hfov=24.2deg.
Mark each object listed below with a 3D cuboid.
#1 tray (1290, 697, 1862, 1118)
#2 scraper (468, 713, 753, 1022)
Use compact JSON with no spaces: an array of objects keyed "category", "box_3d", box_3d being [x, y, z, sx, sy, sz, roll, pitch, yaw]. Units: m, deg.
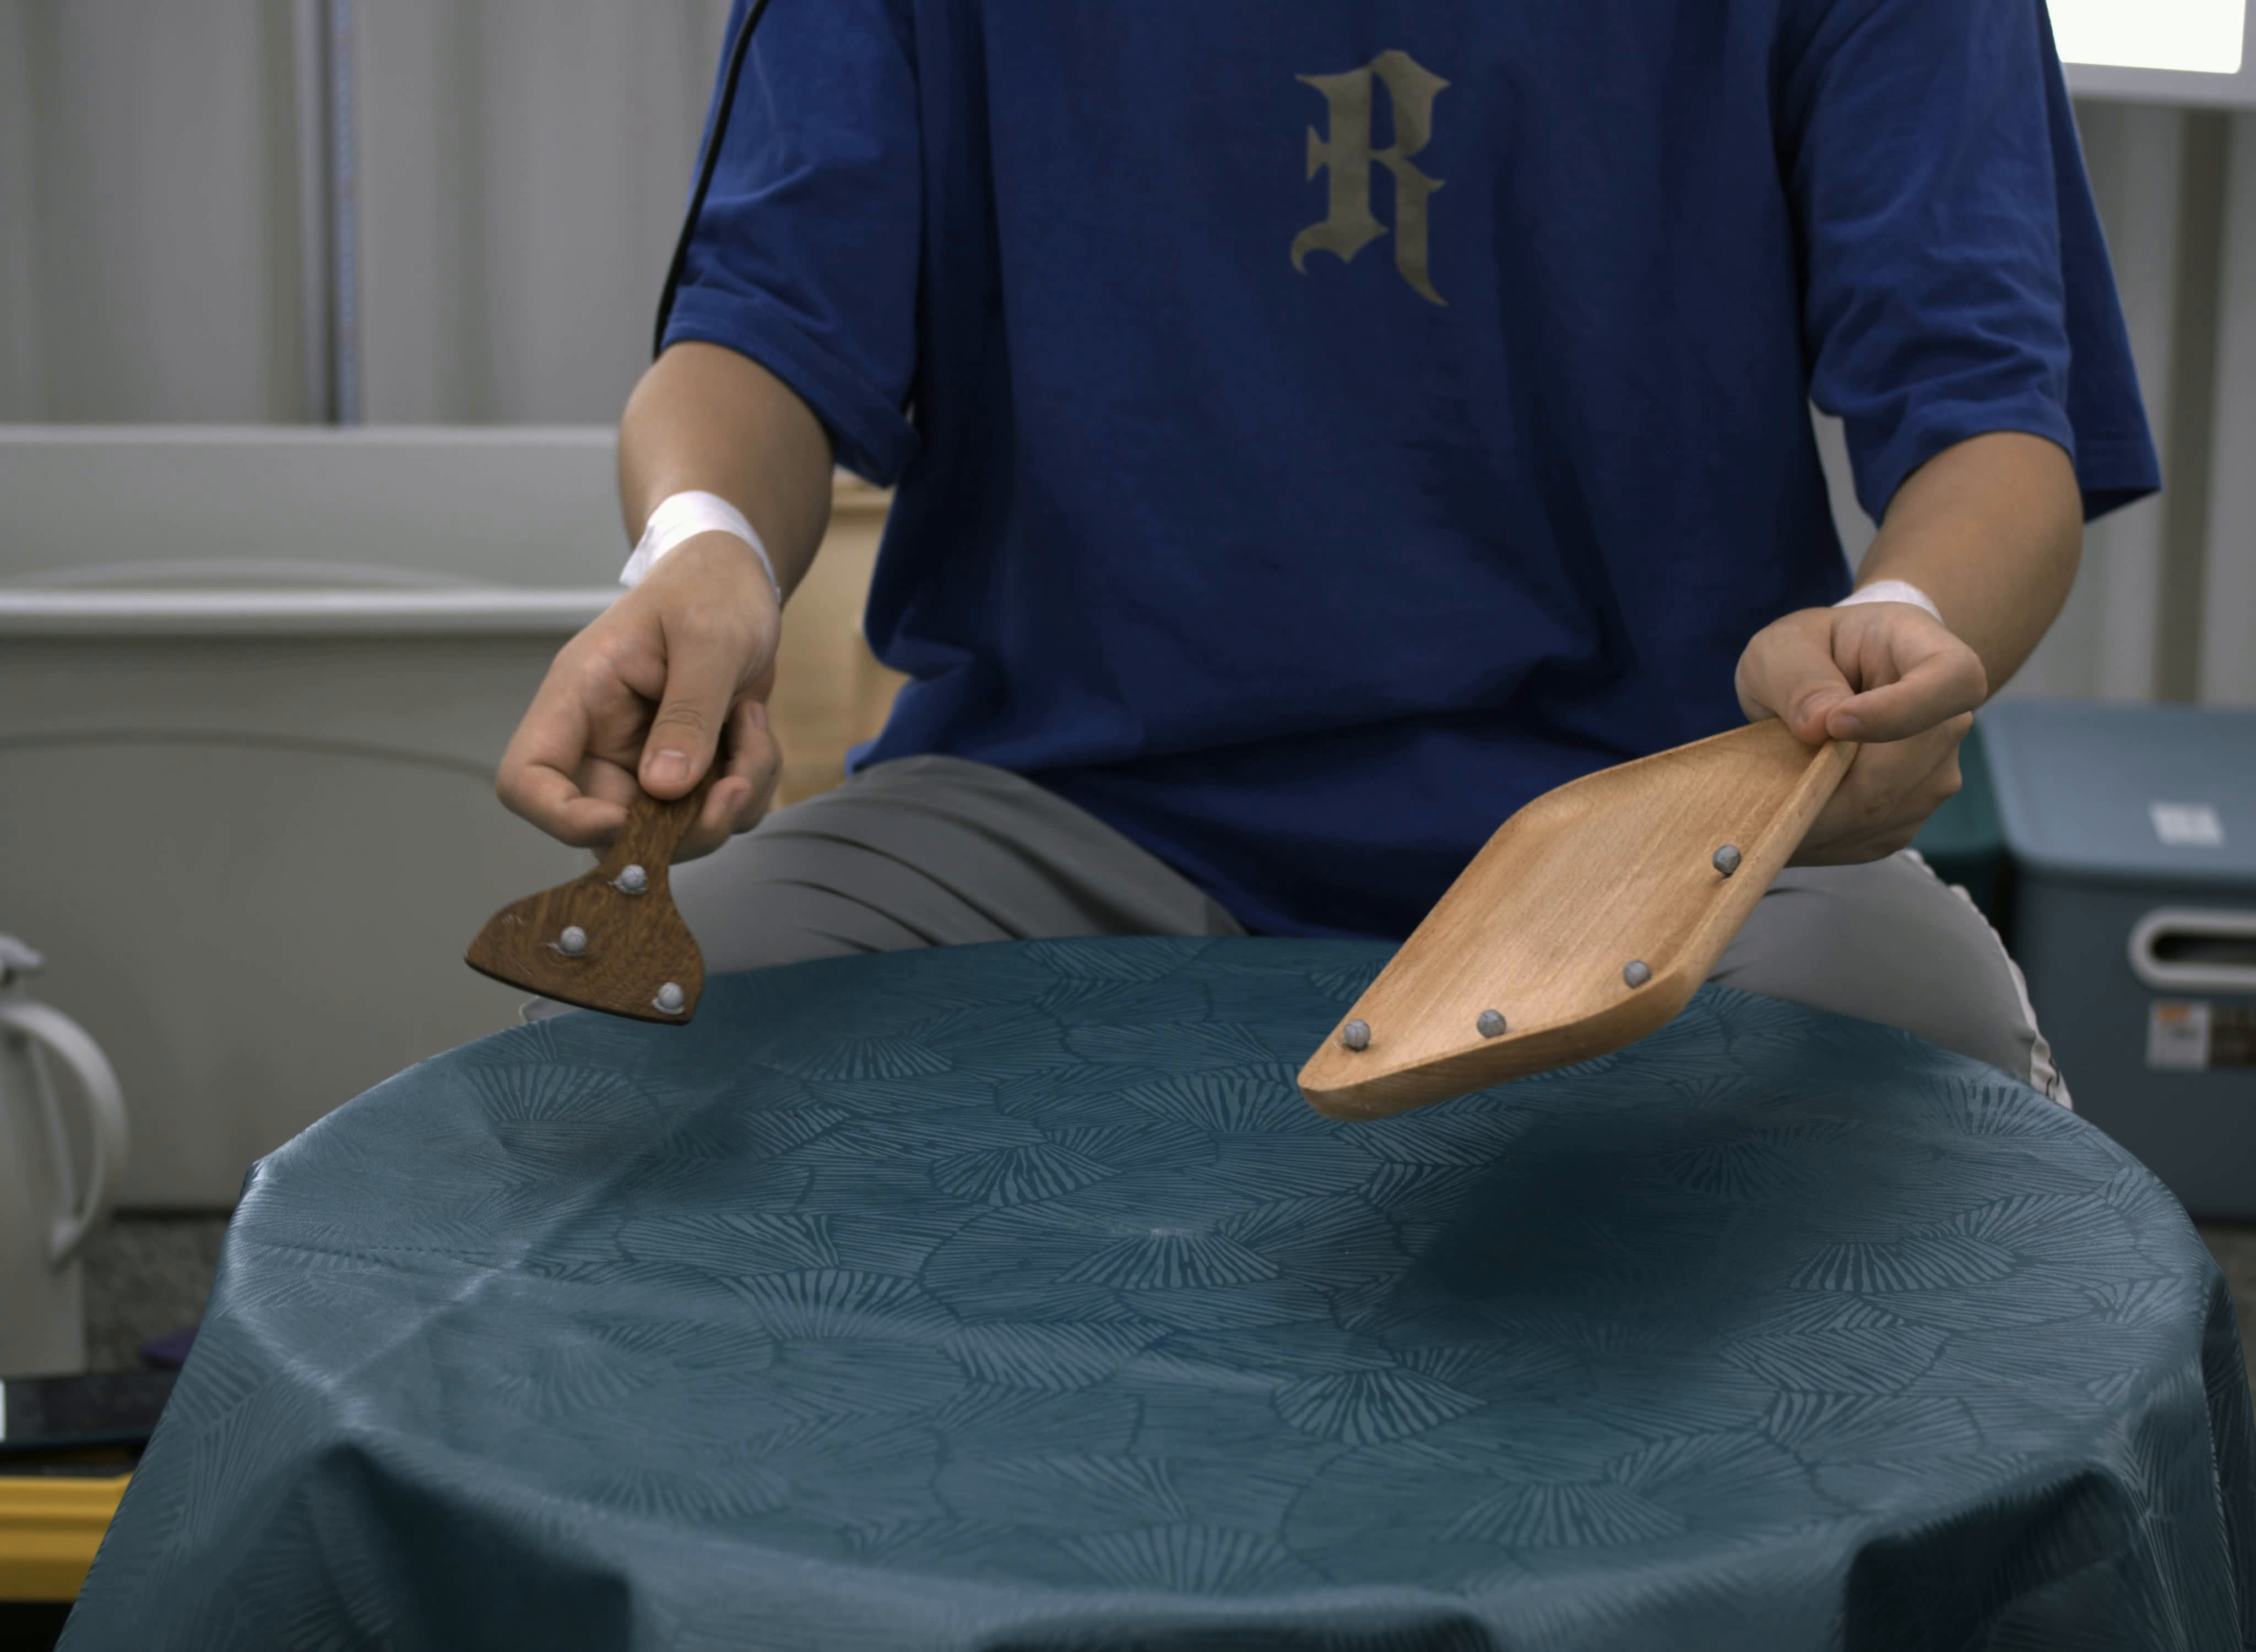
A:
[{"category":"tray","box_3d":[0.140,0.023,1.599,0.129,0.023,0.250,-14,15,28]},{"category":"scraper","box_3d":[-0.154,0.010,1.702,0.075,0.011,0.210,14,27,2]}]
